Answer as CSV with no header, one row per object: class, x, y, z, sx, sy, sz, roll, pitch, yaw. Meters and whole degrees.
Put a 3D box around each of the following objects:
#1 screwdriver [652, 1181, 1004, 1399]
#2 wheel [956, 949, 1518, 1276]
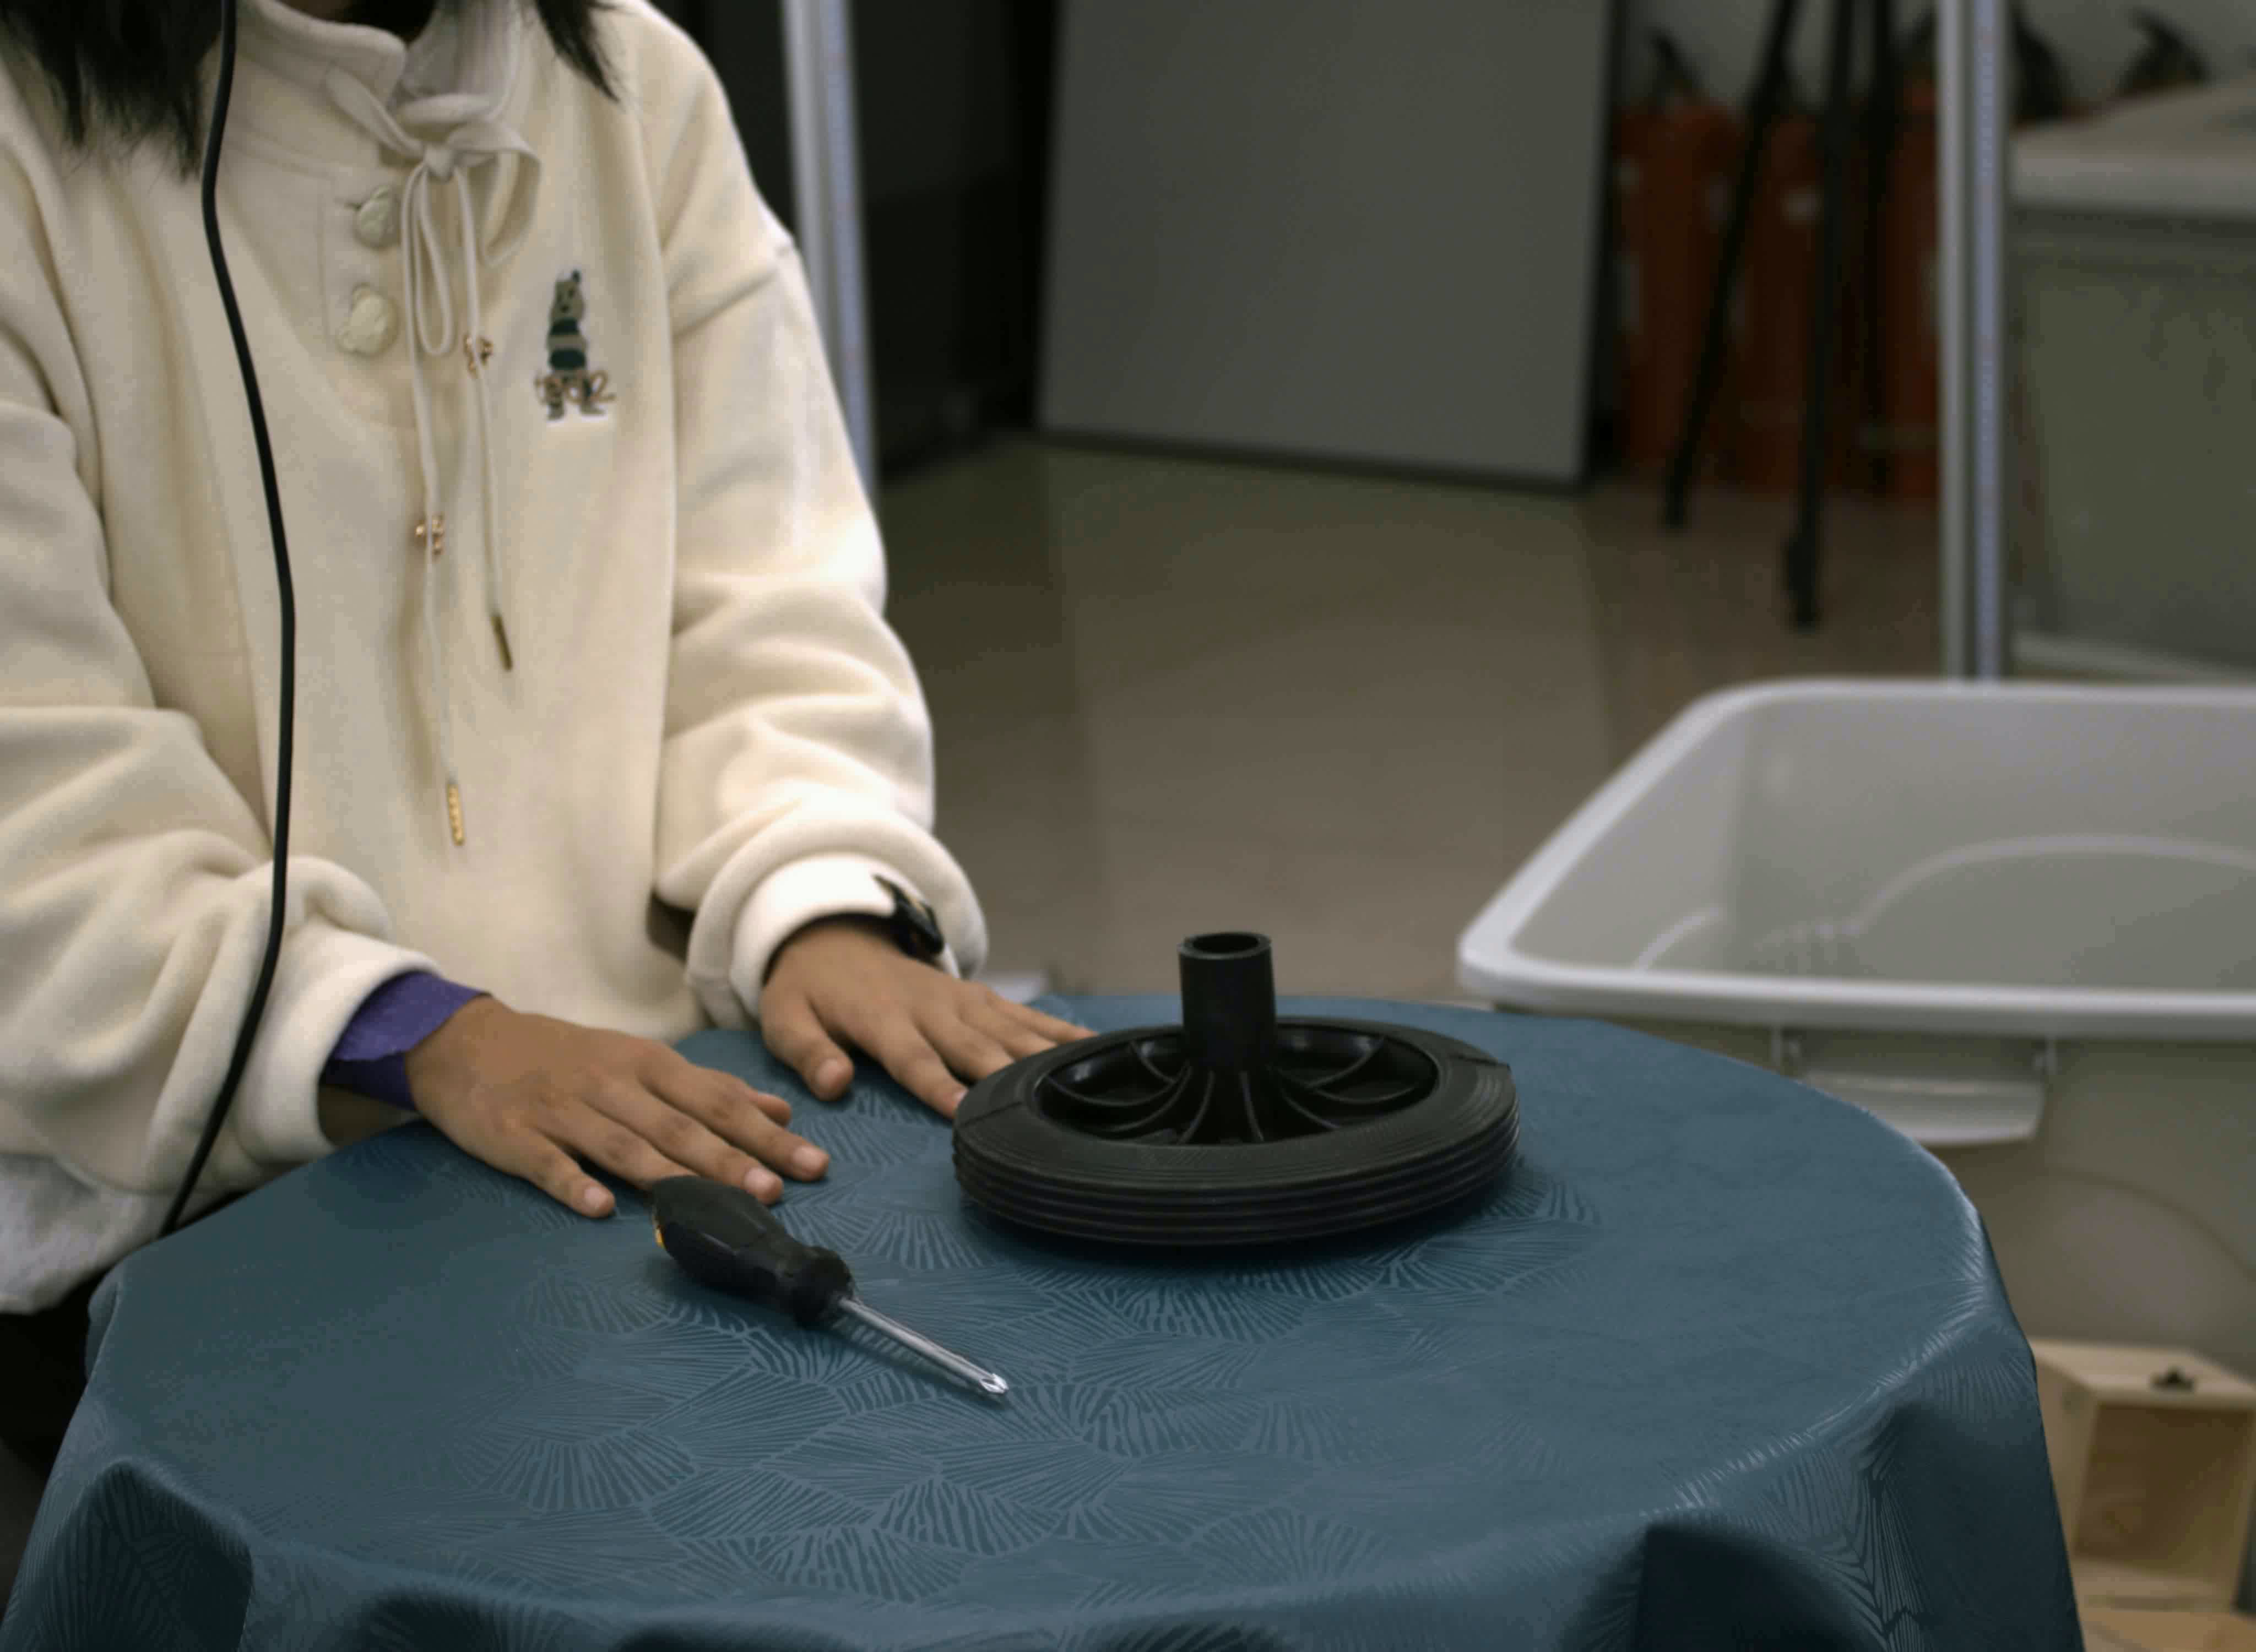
screwdriver,-0.088,0.143,1.657,0.031,0.032,0.198,-13,18,-34
wheel,0.033,0.083,1.761,0.188,0.080,0.187,3,19,27
